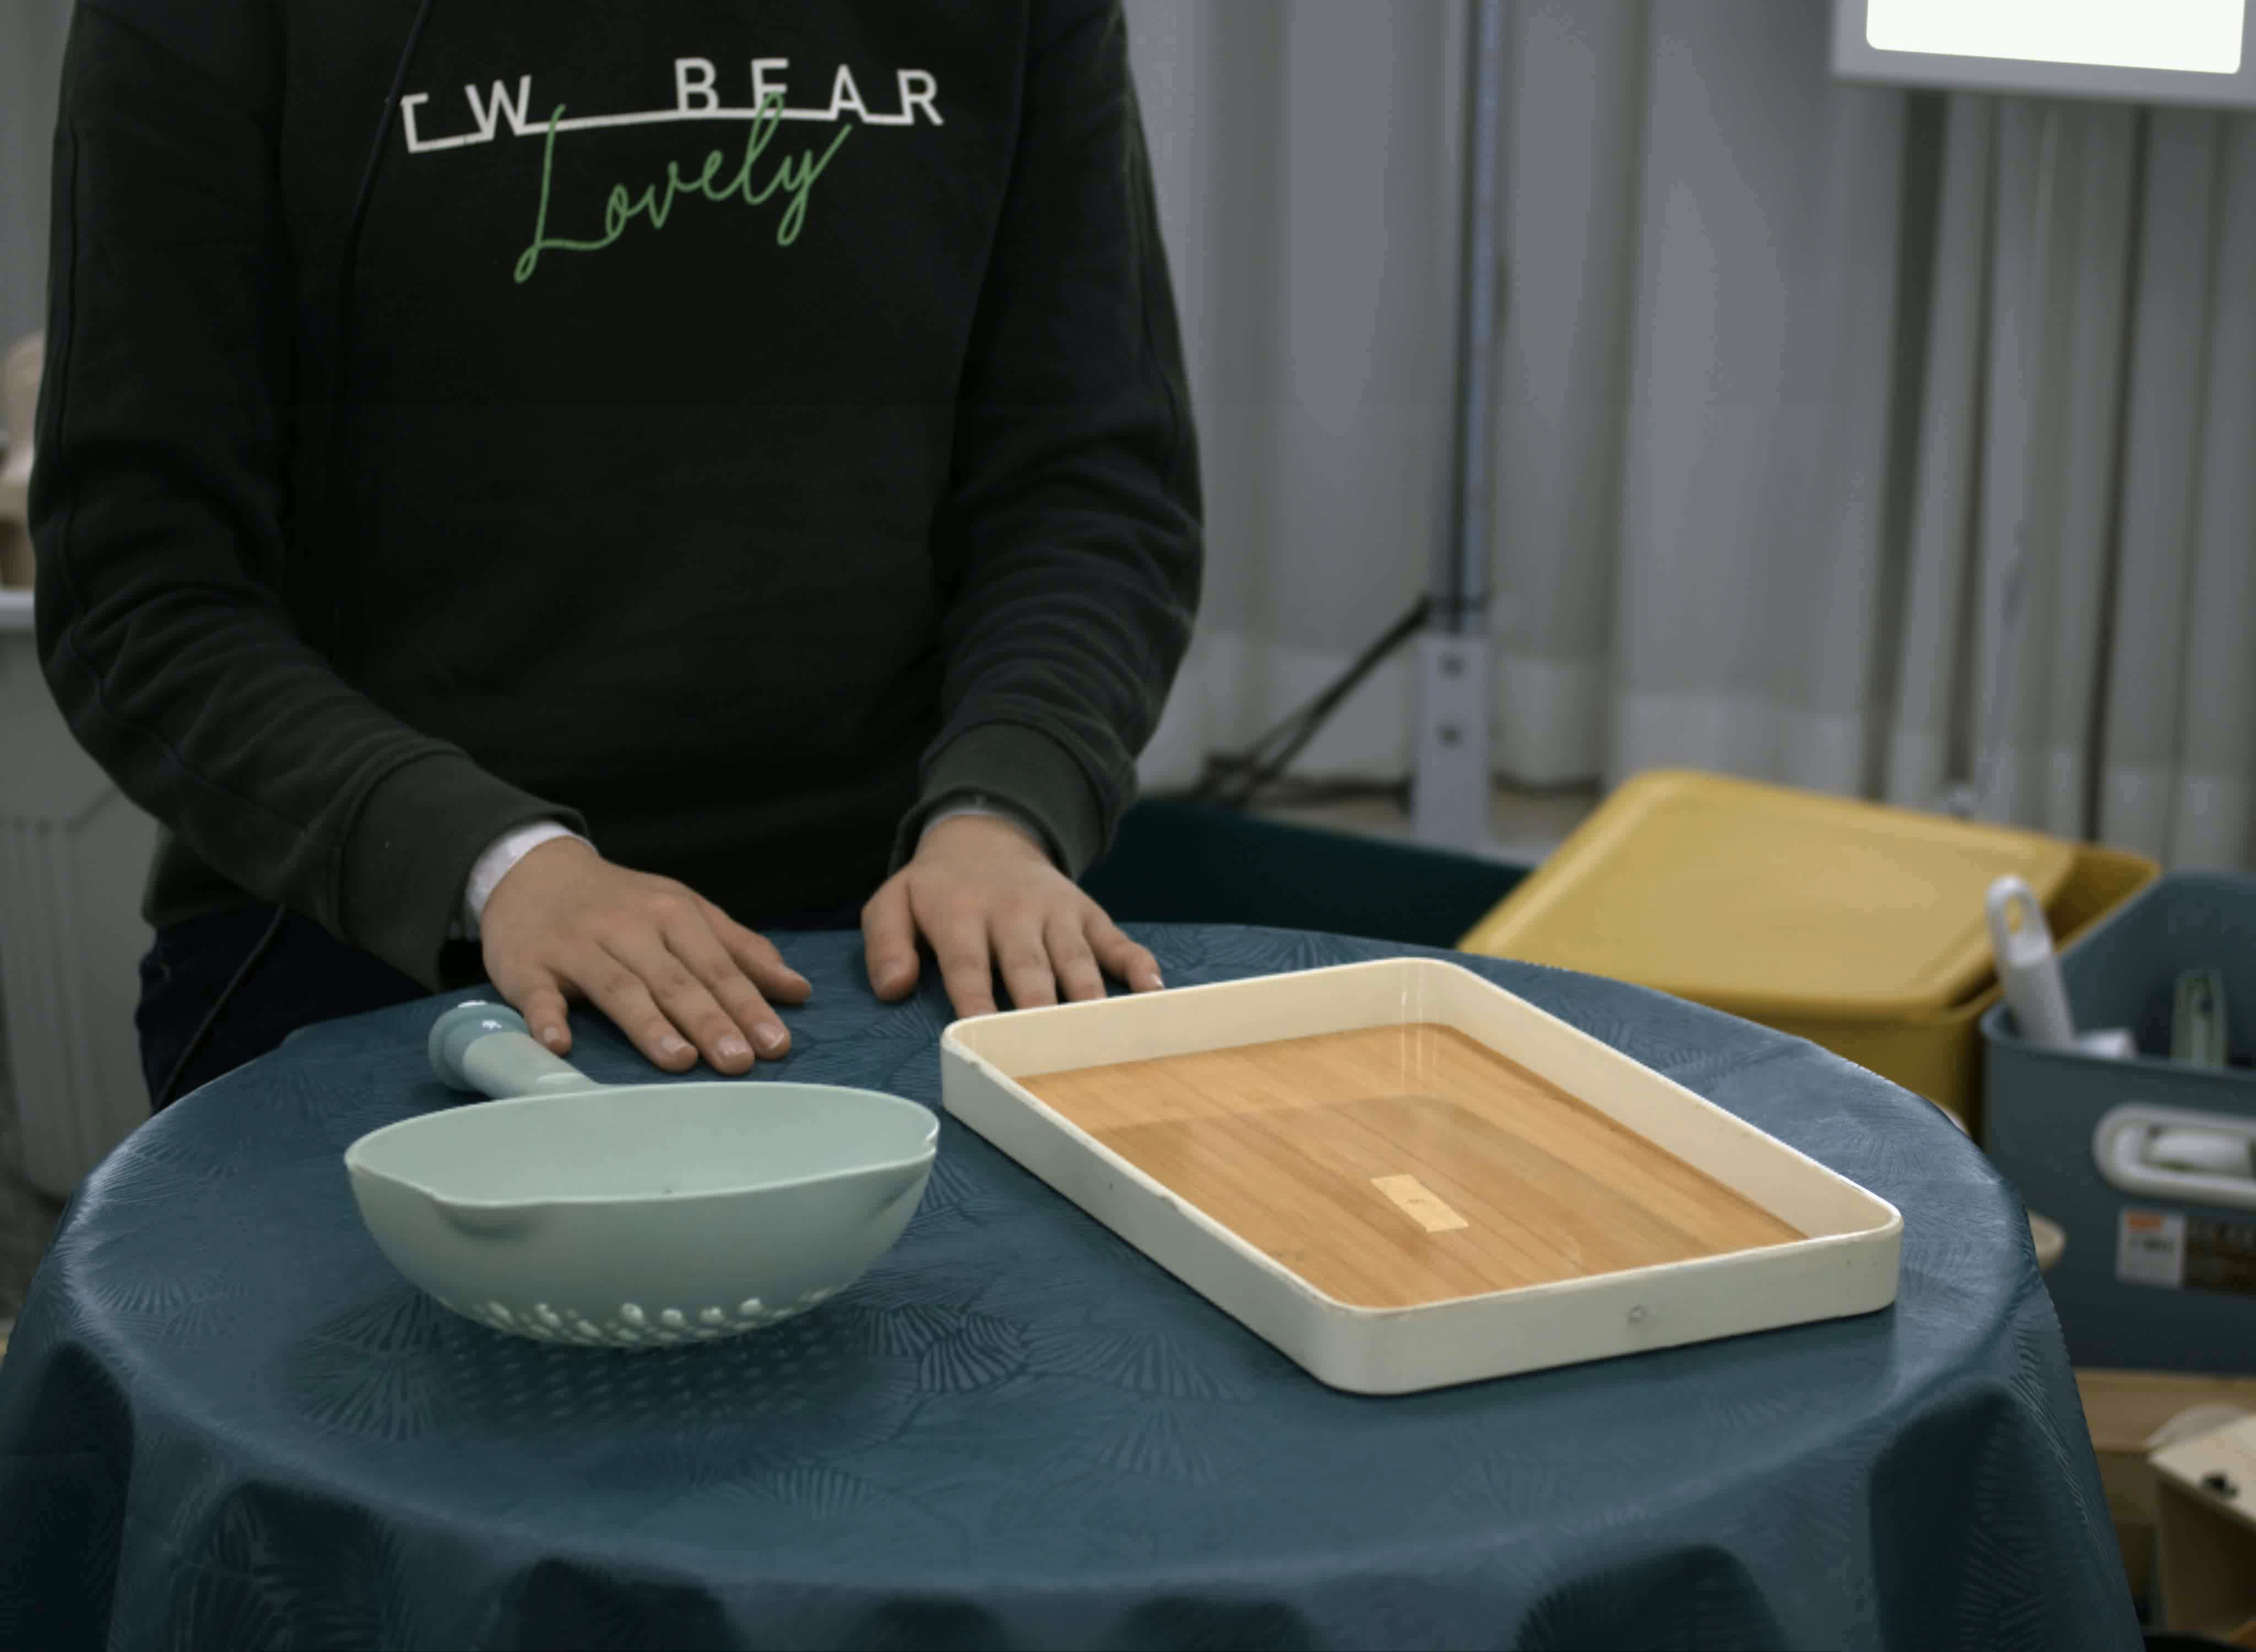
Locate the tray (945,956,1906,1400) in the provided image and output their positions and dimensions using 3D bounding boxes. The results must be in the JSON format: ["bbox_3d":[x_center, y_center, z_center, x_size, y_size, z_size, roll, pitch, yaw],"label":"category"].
[{"bbox_3d":[0.084,0.103,1.618,0.192,0.027,0.296,-7,18,-25],"label":"tray"}]

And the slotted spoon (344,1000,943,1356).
[{"bbox_3d":[-0.166,0.089,1.583,0.170,0.076,0.355,-4,17,-18],"label":"slotted spoon"}]
